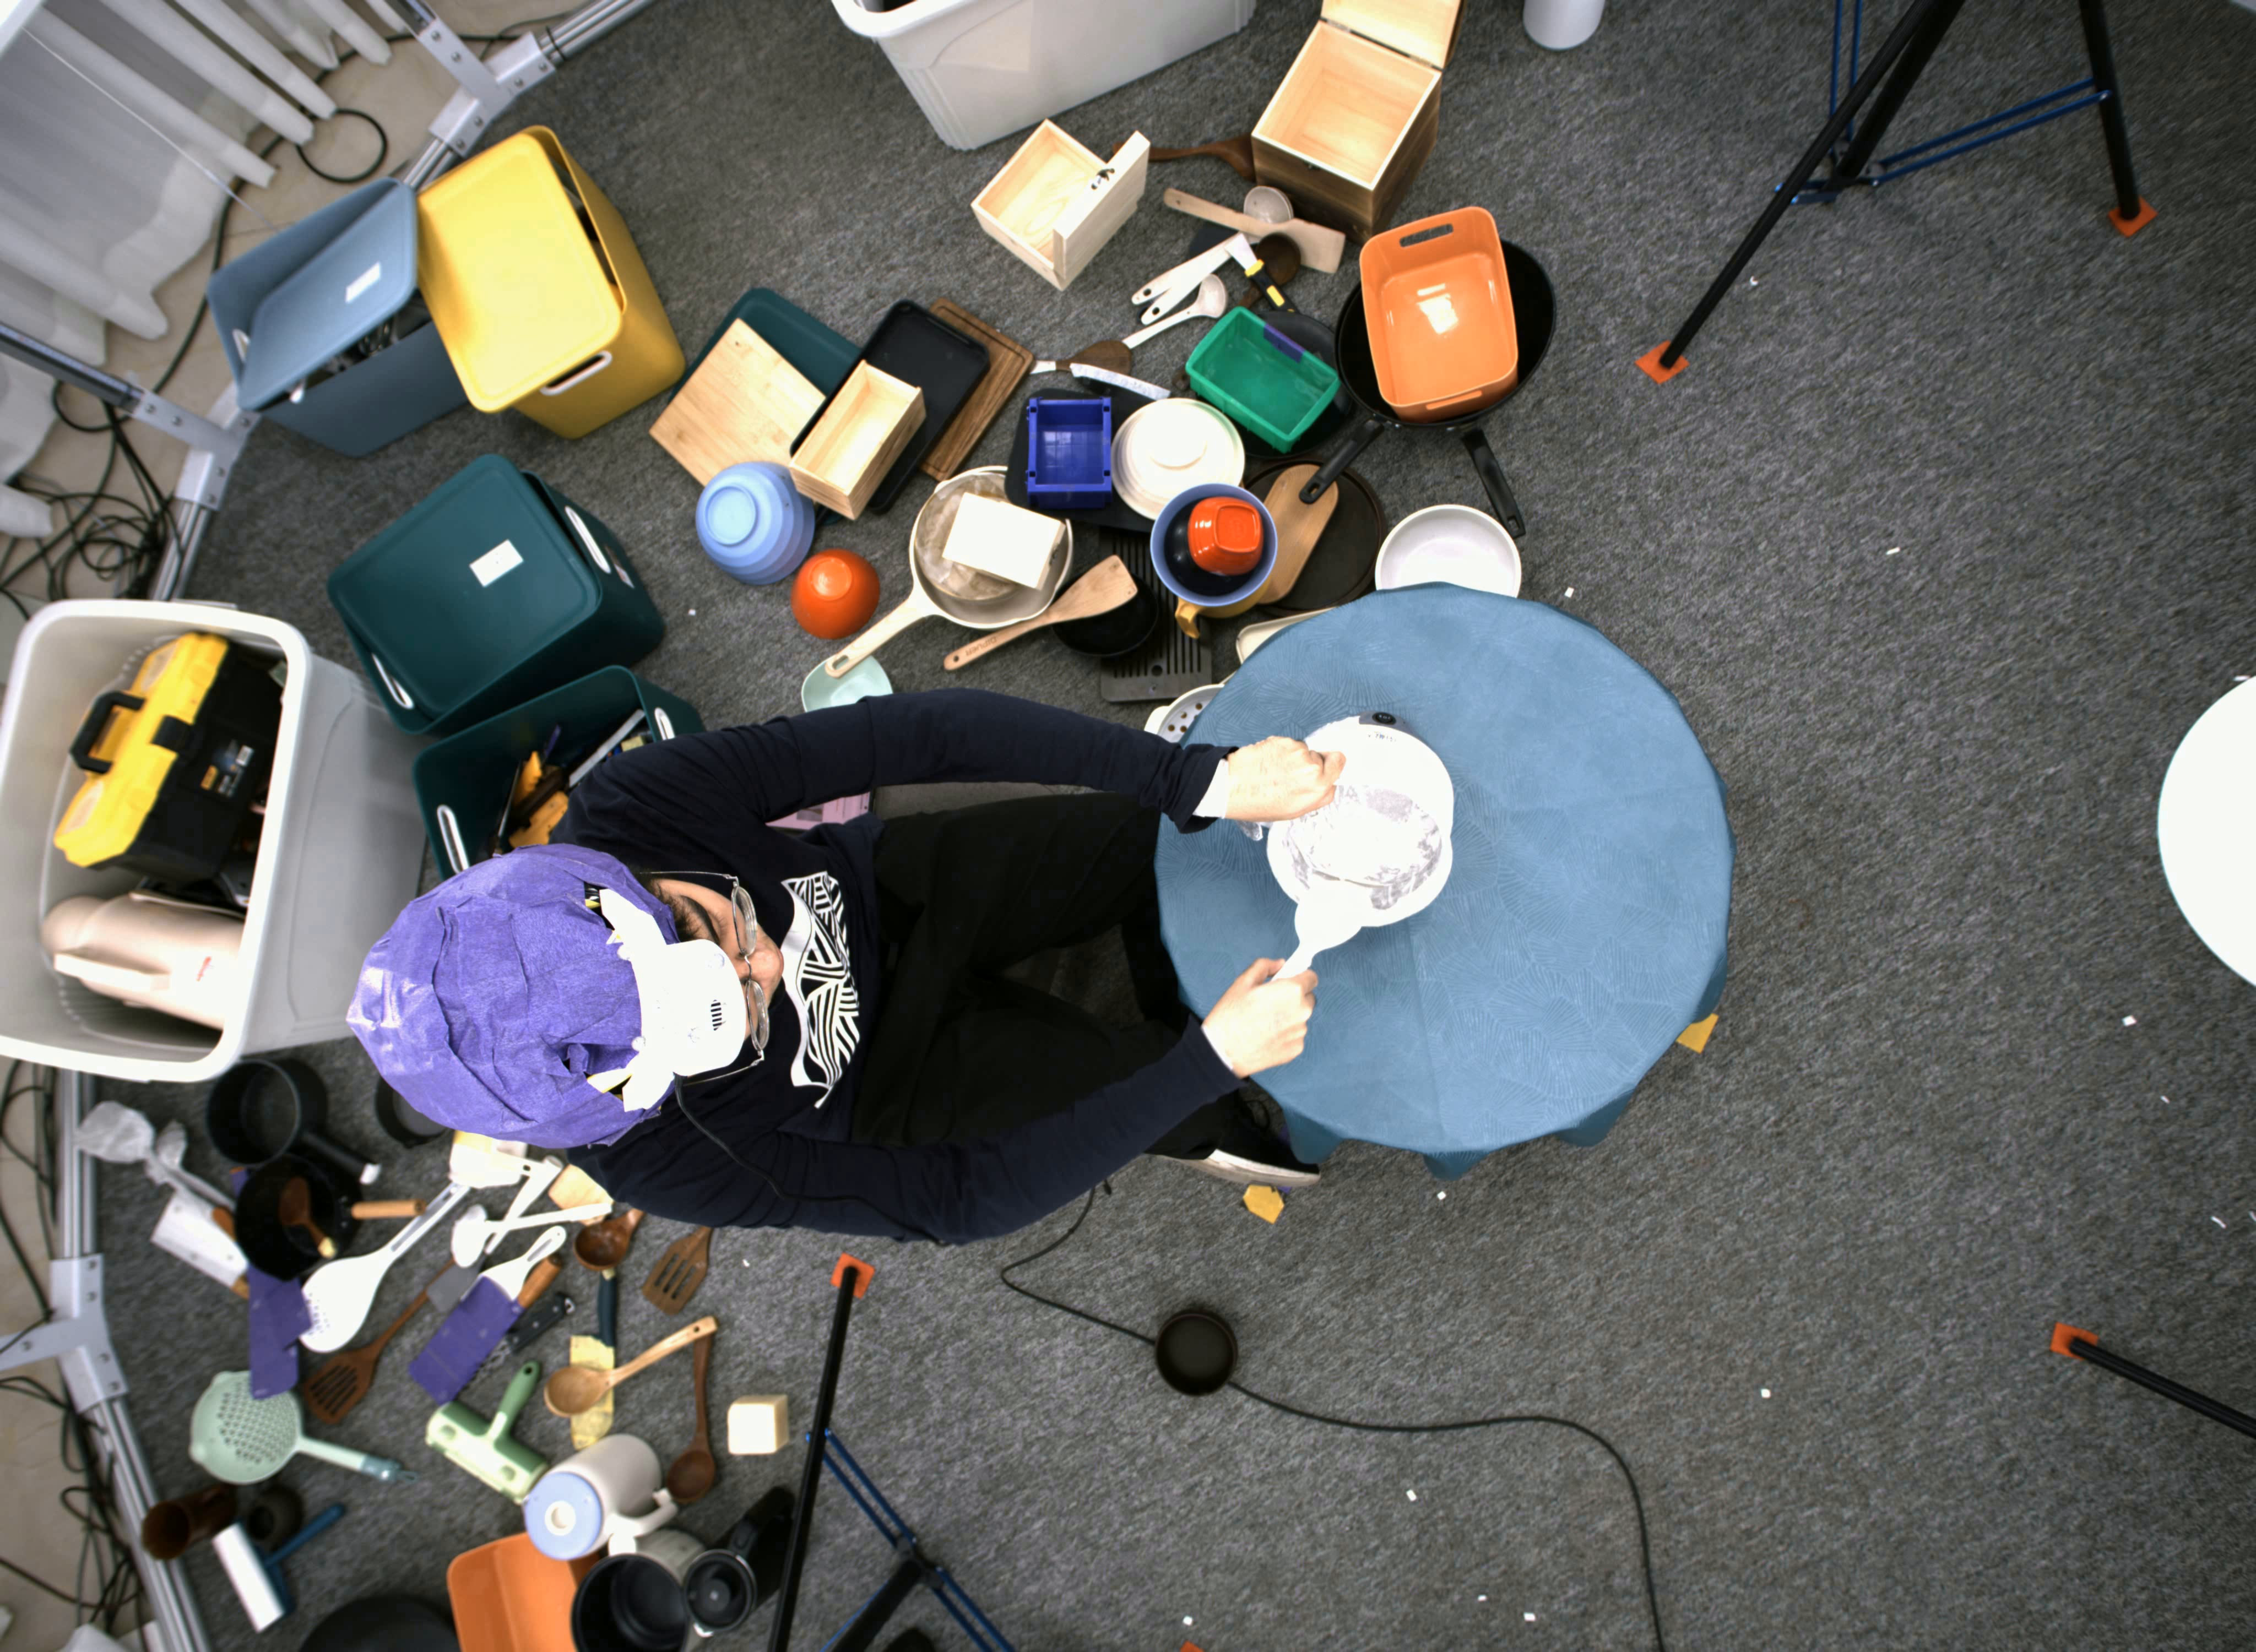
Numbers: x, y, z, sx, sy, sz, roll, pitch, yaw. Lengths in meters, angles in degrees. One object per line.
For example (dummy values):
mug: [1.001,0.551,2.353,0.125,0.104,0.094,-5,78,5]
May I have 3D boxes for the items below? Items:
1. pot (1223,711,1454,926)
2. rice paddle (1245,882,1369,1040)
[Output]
pot: [0.207,-0.014,1.376,0.234,0.133,0.183,9,125,6]
rice paddle: [0.169,0.118,1.313,0.069,0.030,0.200,19,51,25]
